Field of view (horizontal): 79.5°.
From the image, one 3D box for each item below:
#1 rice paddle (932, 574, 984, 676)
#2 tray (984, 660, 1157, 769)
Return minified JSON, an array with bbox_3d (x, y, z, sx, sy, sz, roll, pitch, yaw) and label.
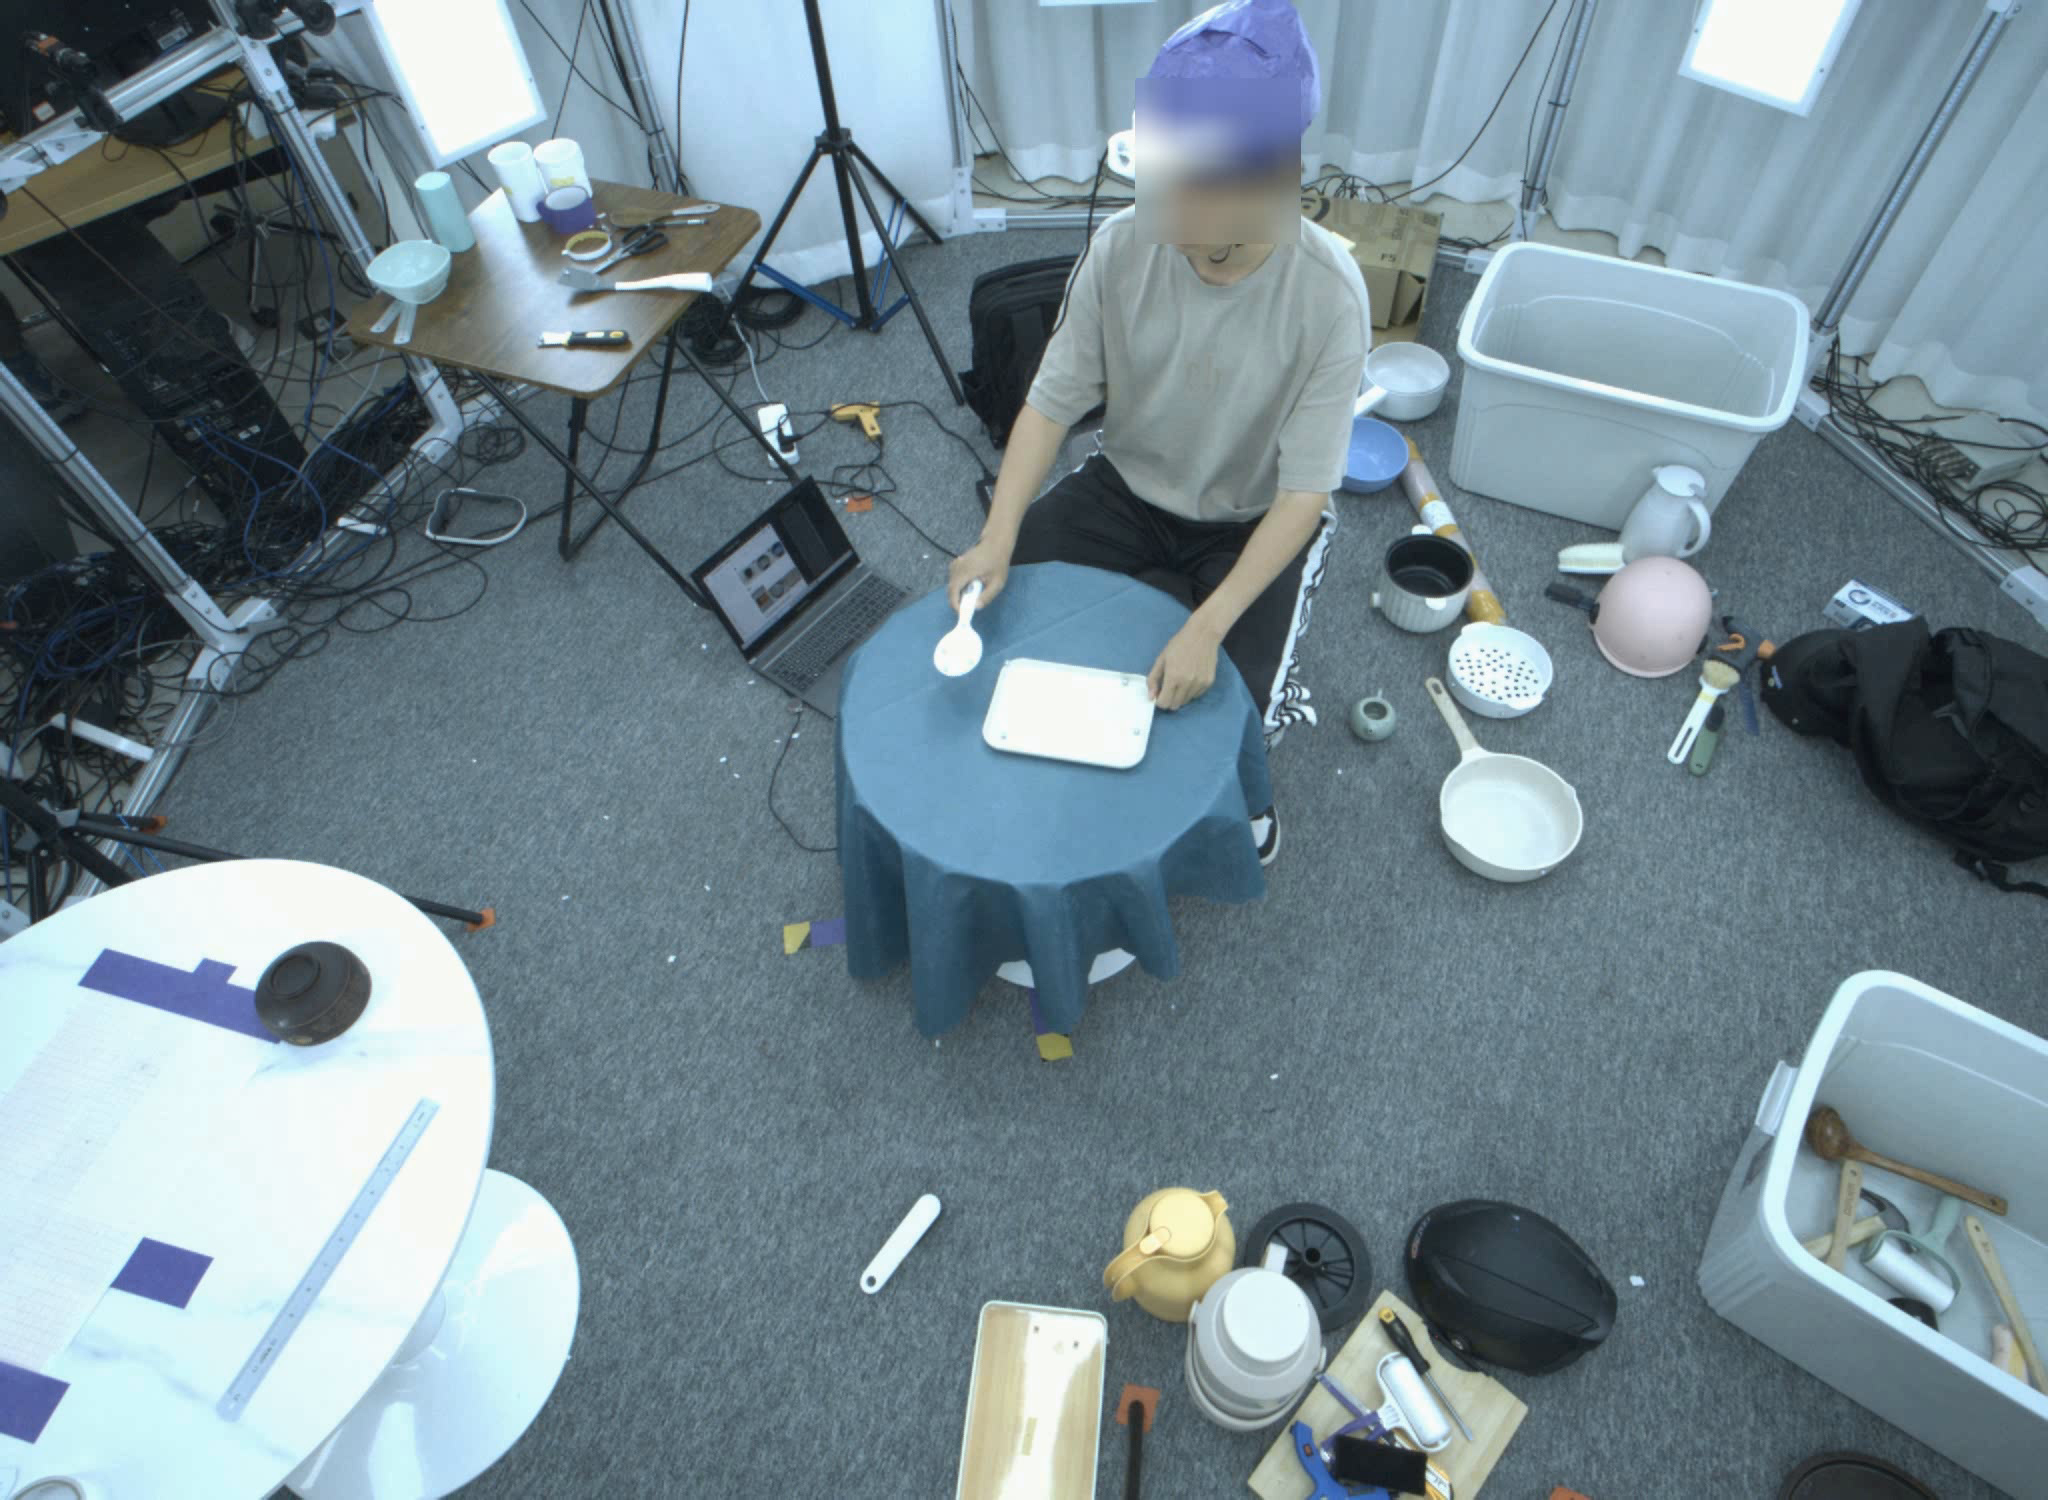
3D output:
[{"bbox_3d":[-0.092,-0.185,1.829,0.068,0.030,0.204,1,49,11],"label":"rice paddle"},{"bbox_3d":[0.069,-0.052,1.808,0.238,0.017,0.170,9,56,8],"label":"tray"}]
